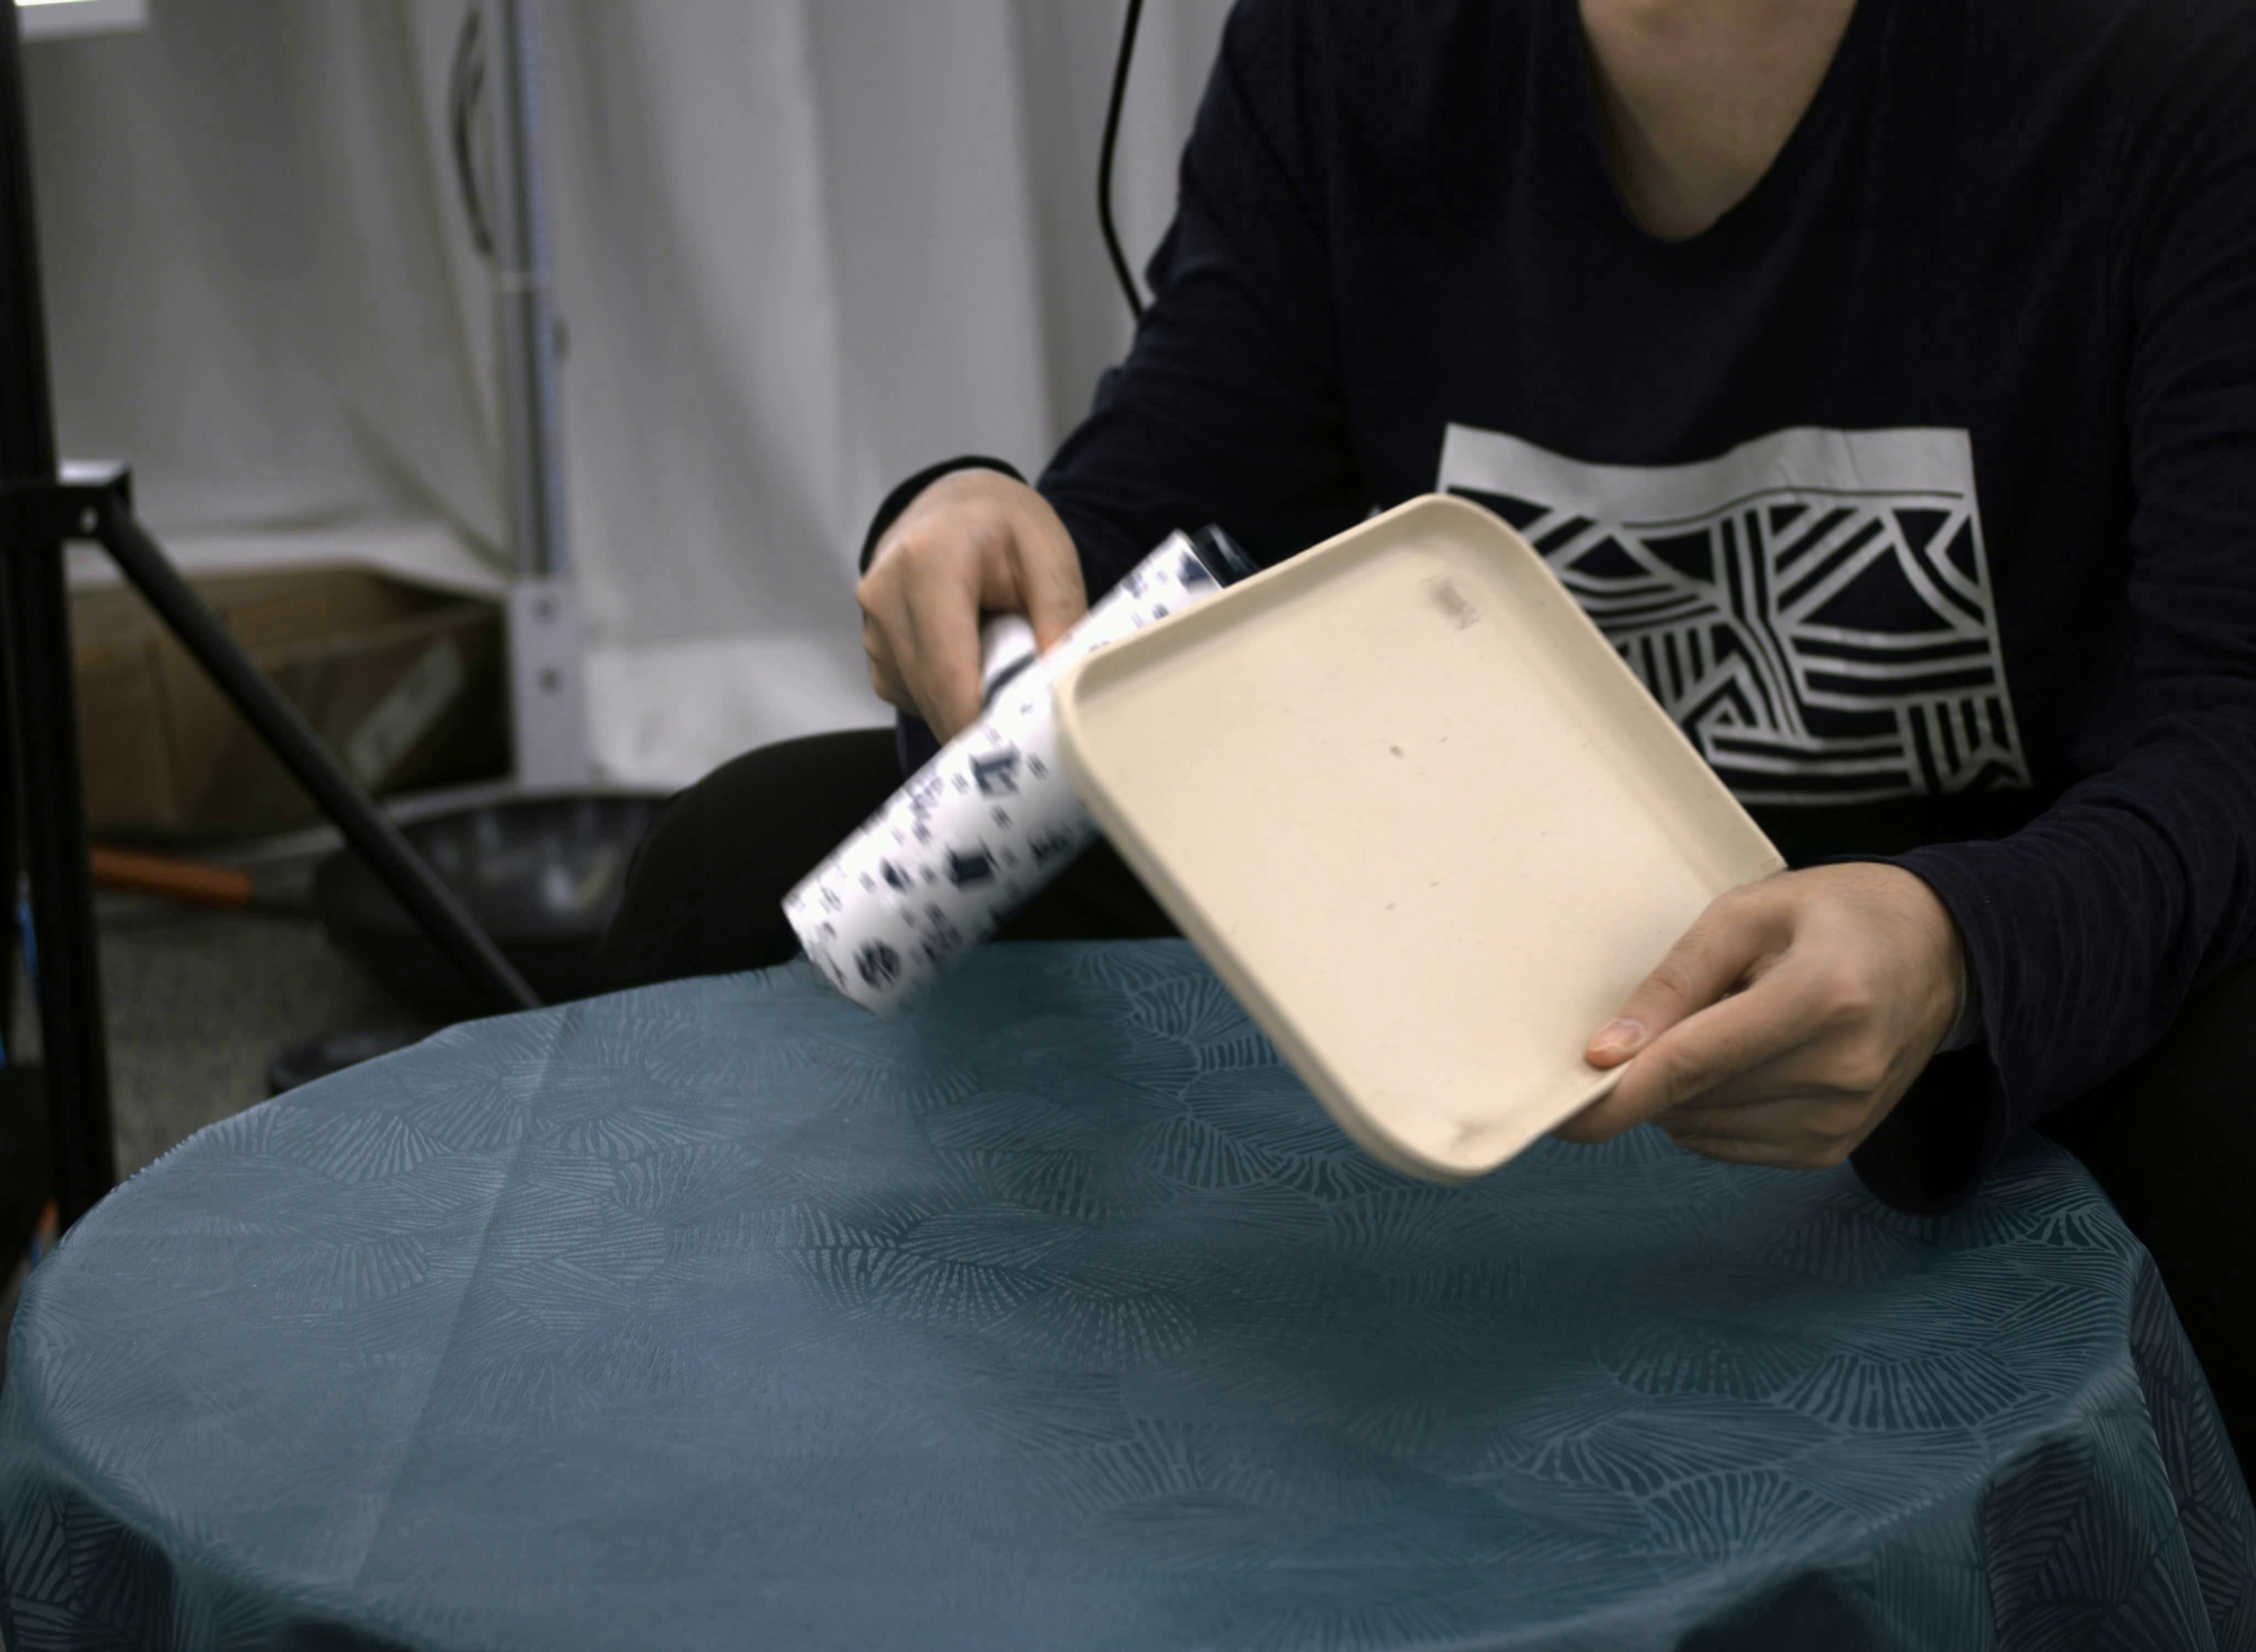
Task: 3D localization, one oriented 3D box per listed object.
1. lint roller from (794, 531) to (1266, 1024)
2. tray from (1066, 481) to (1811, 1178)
[{"bbox_3d":[-0.034,-0.037,1.640,0.177,0.050,0.249,-44,14,7],"label":"lint roller"},{"bbox_3d":[0.085,-0.002,1.418,0.017,0.173,0.235,-45,-11,35],"label":"tray"}]
